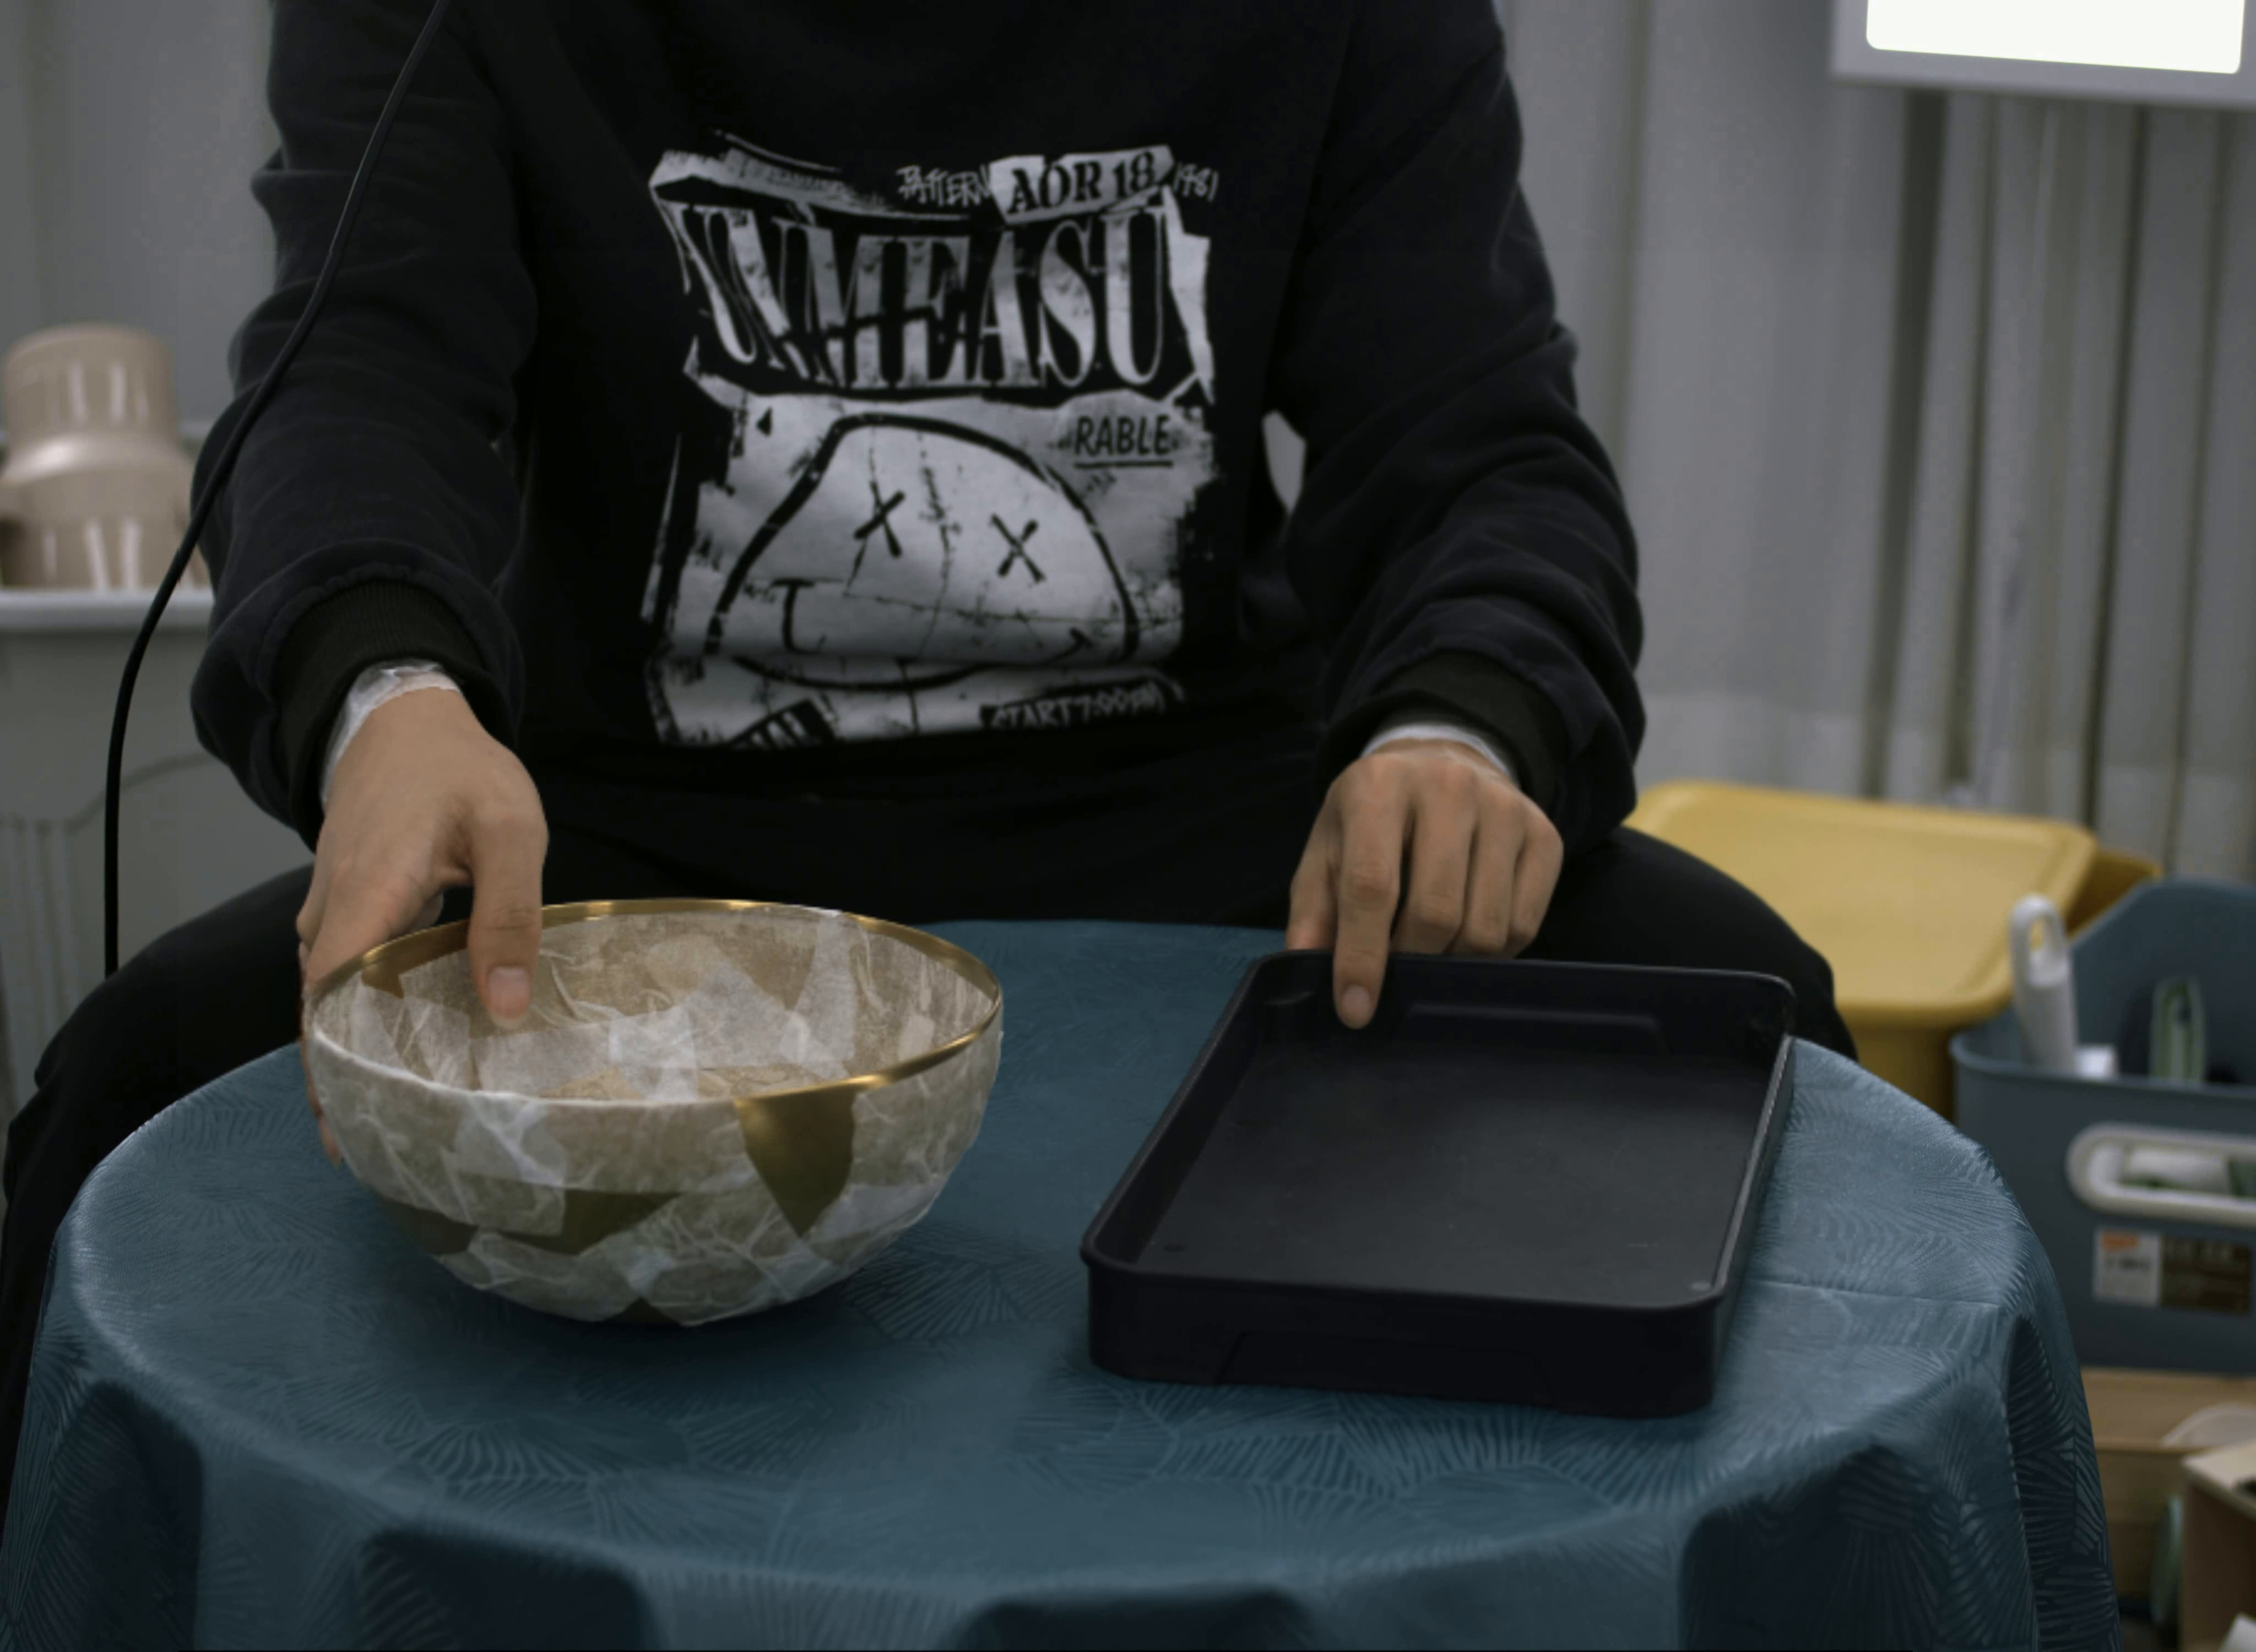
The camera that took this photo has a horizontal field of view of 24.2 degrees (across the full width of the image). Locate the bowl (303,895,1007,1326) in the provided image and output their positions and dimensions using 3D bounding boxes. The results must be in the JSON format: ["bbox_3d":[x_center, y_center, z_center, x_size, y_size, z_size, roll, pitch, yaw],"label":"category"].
[{"bbox_3d":[-0.132,0.090,1.529,0.214,0.095,0.213,0,16,1],"label":"bowl"}]

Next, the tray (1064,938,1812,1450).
[{"bbox_3d":[0.102,0.105,1.603,0.183,0.037,0.317,5,18,12],"label":"tray"}]
